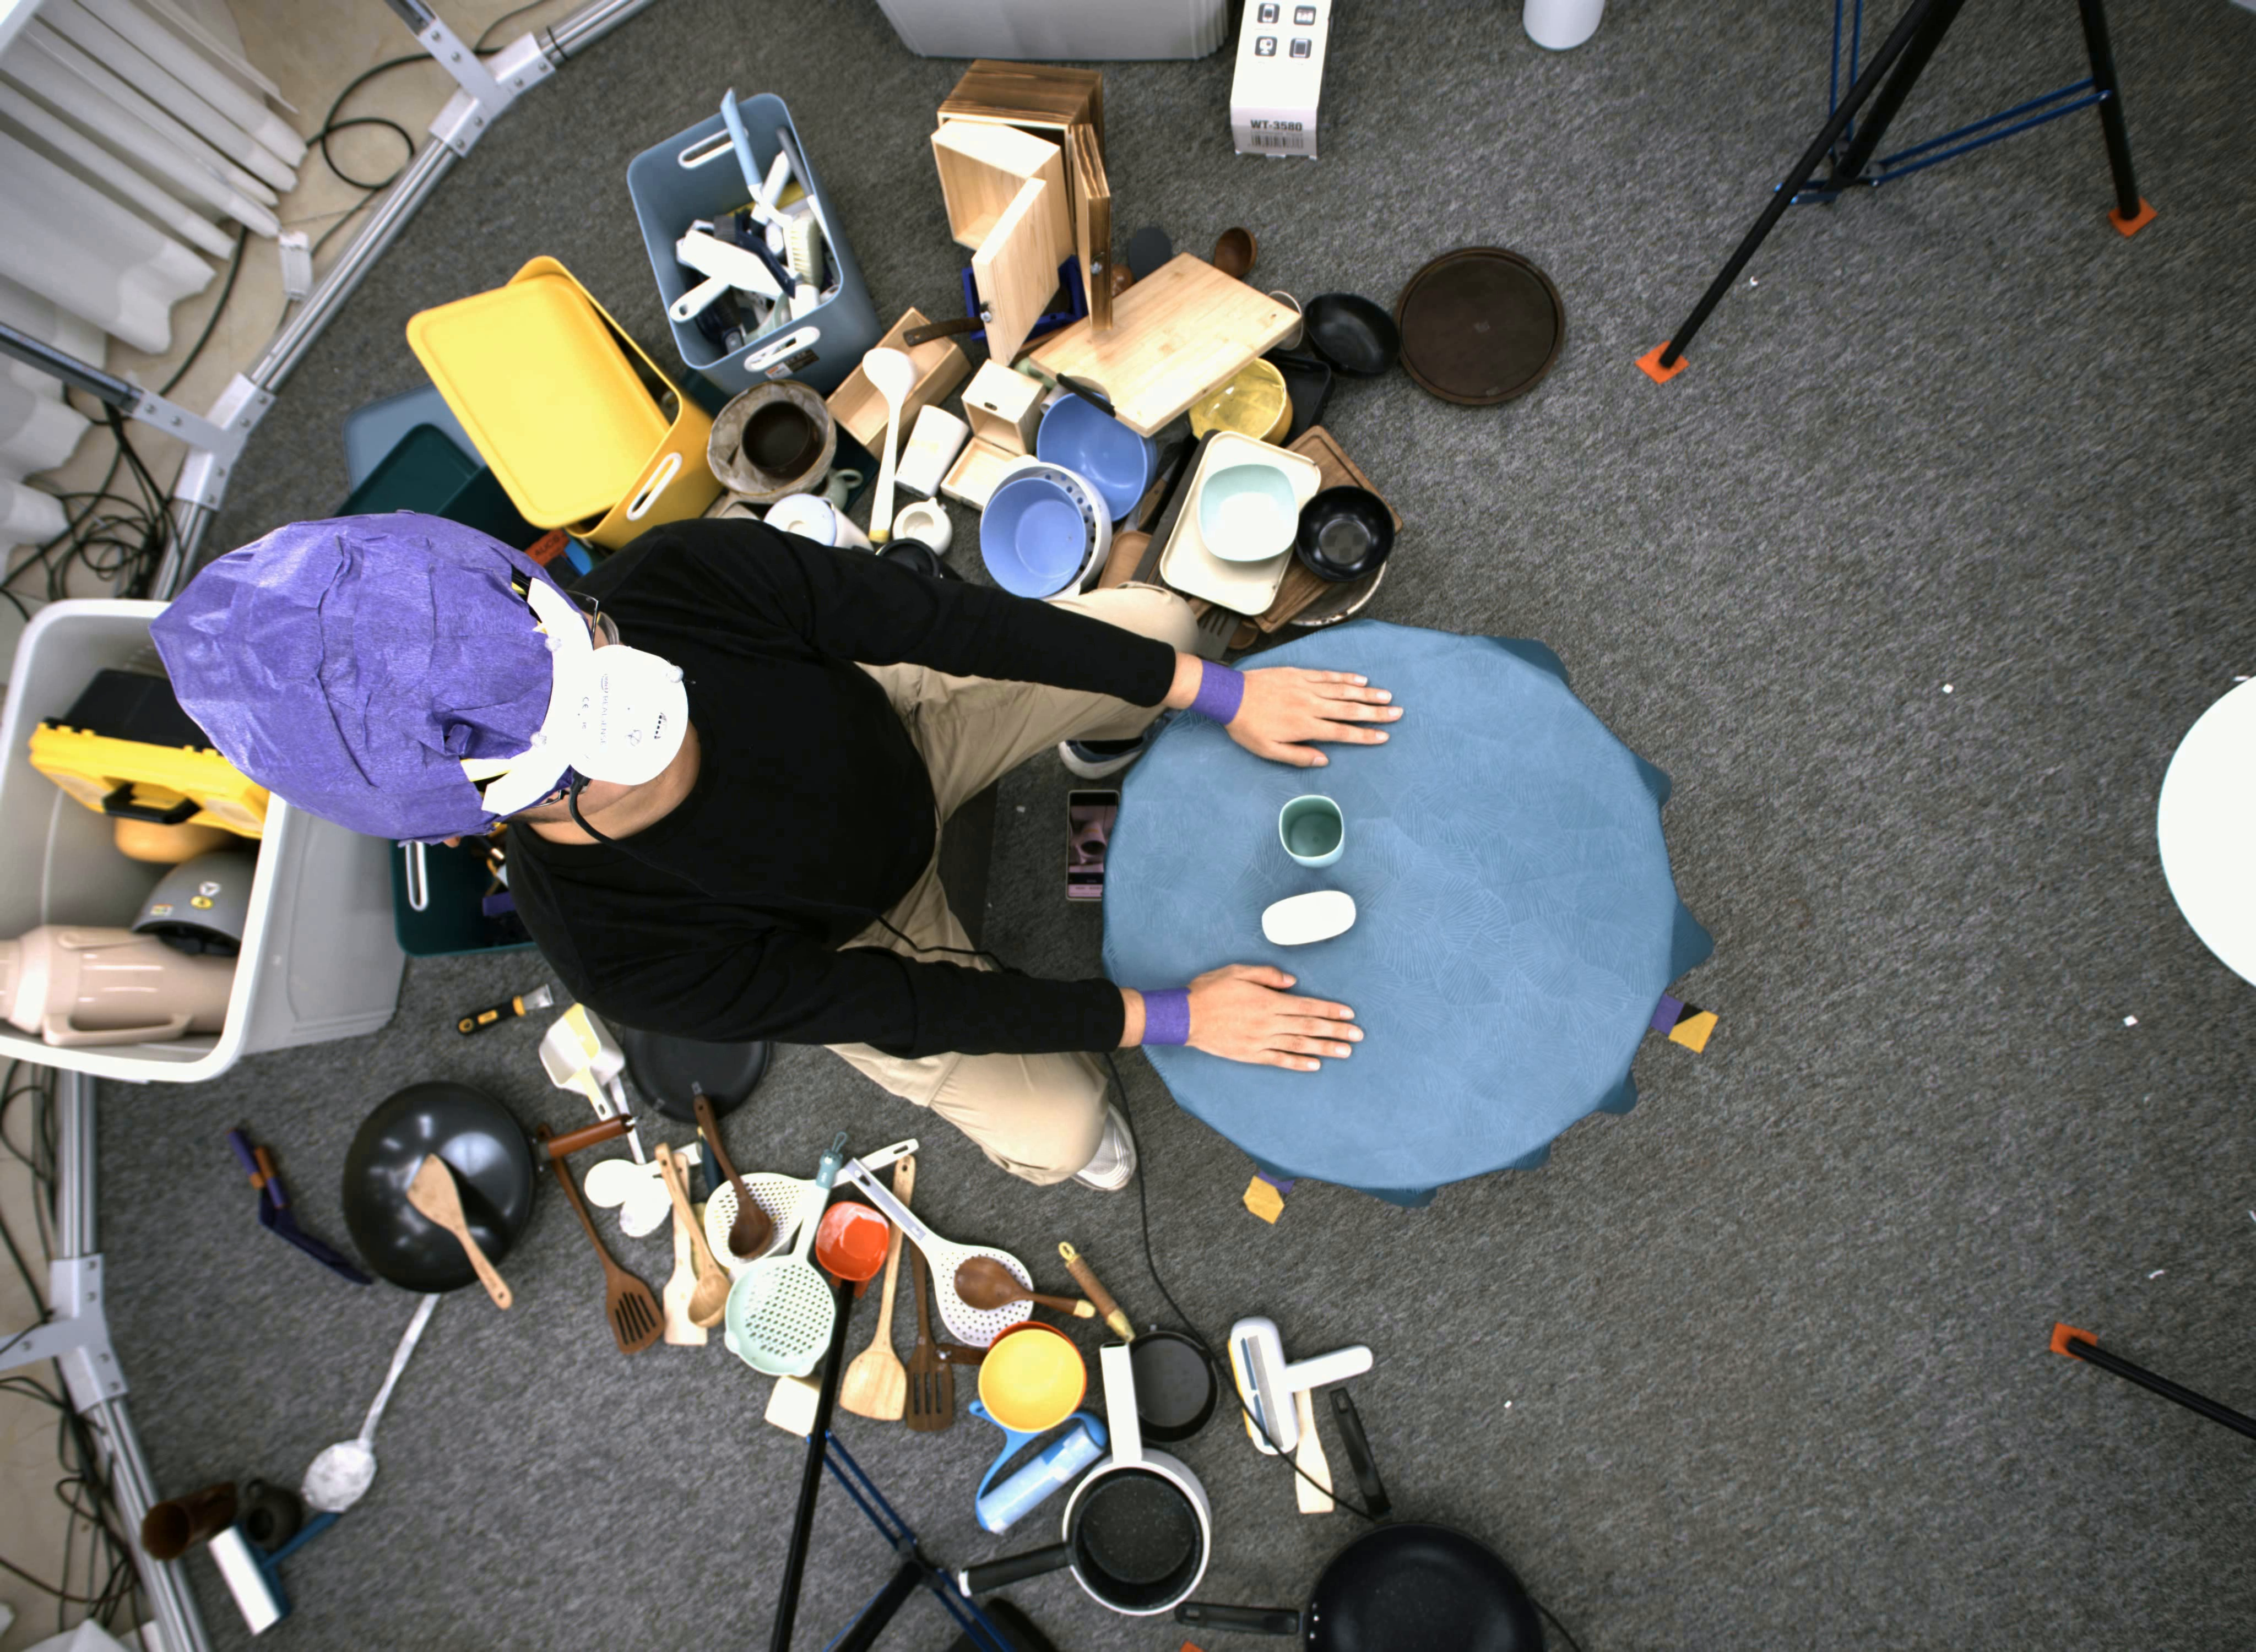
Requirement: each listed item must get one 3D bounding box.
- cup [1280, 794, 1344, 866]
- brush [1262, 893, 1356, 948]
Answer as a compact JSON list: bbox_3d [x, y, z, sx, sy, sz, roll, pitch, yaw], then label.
[{"bbox_3d":[0.190,0.007,1.415,0.067,0.132,0.066,-1,85,9],"label":"cup"},{"bbox_3d":[0.187,0.096,1.435,0.099,0.073,0.050,-11,81,8],"label":"brush"}]
